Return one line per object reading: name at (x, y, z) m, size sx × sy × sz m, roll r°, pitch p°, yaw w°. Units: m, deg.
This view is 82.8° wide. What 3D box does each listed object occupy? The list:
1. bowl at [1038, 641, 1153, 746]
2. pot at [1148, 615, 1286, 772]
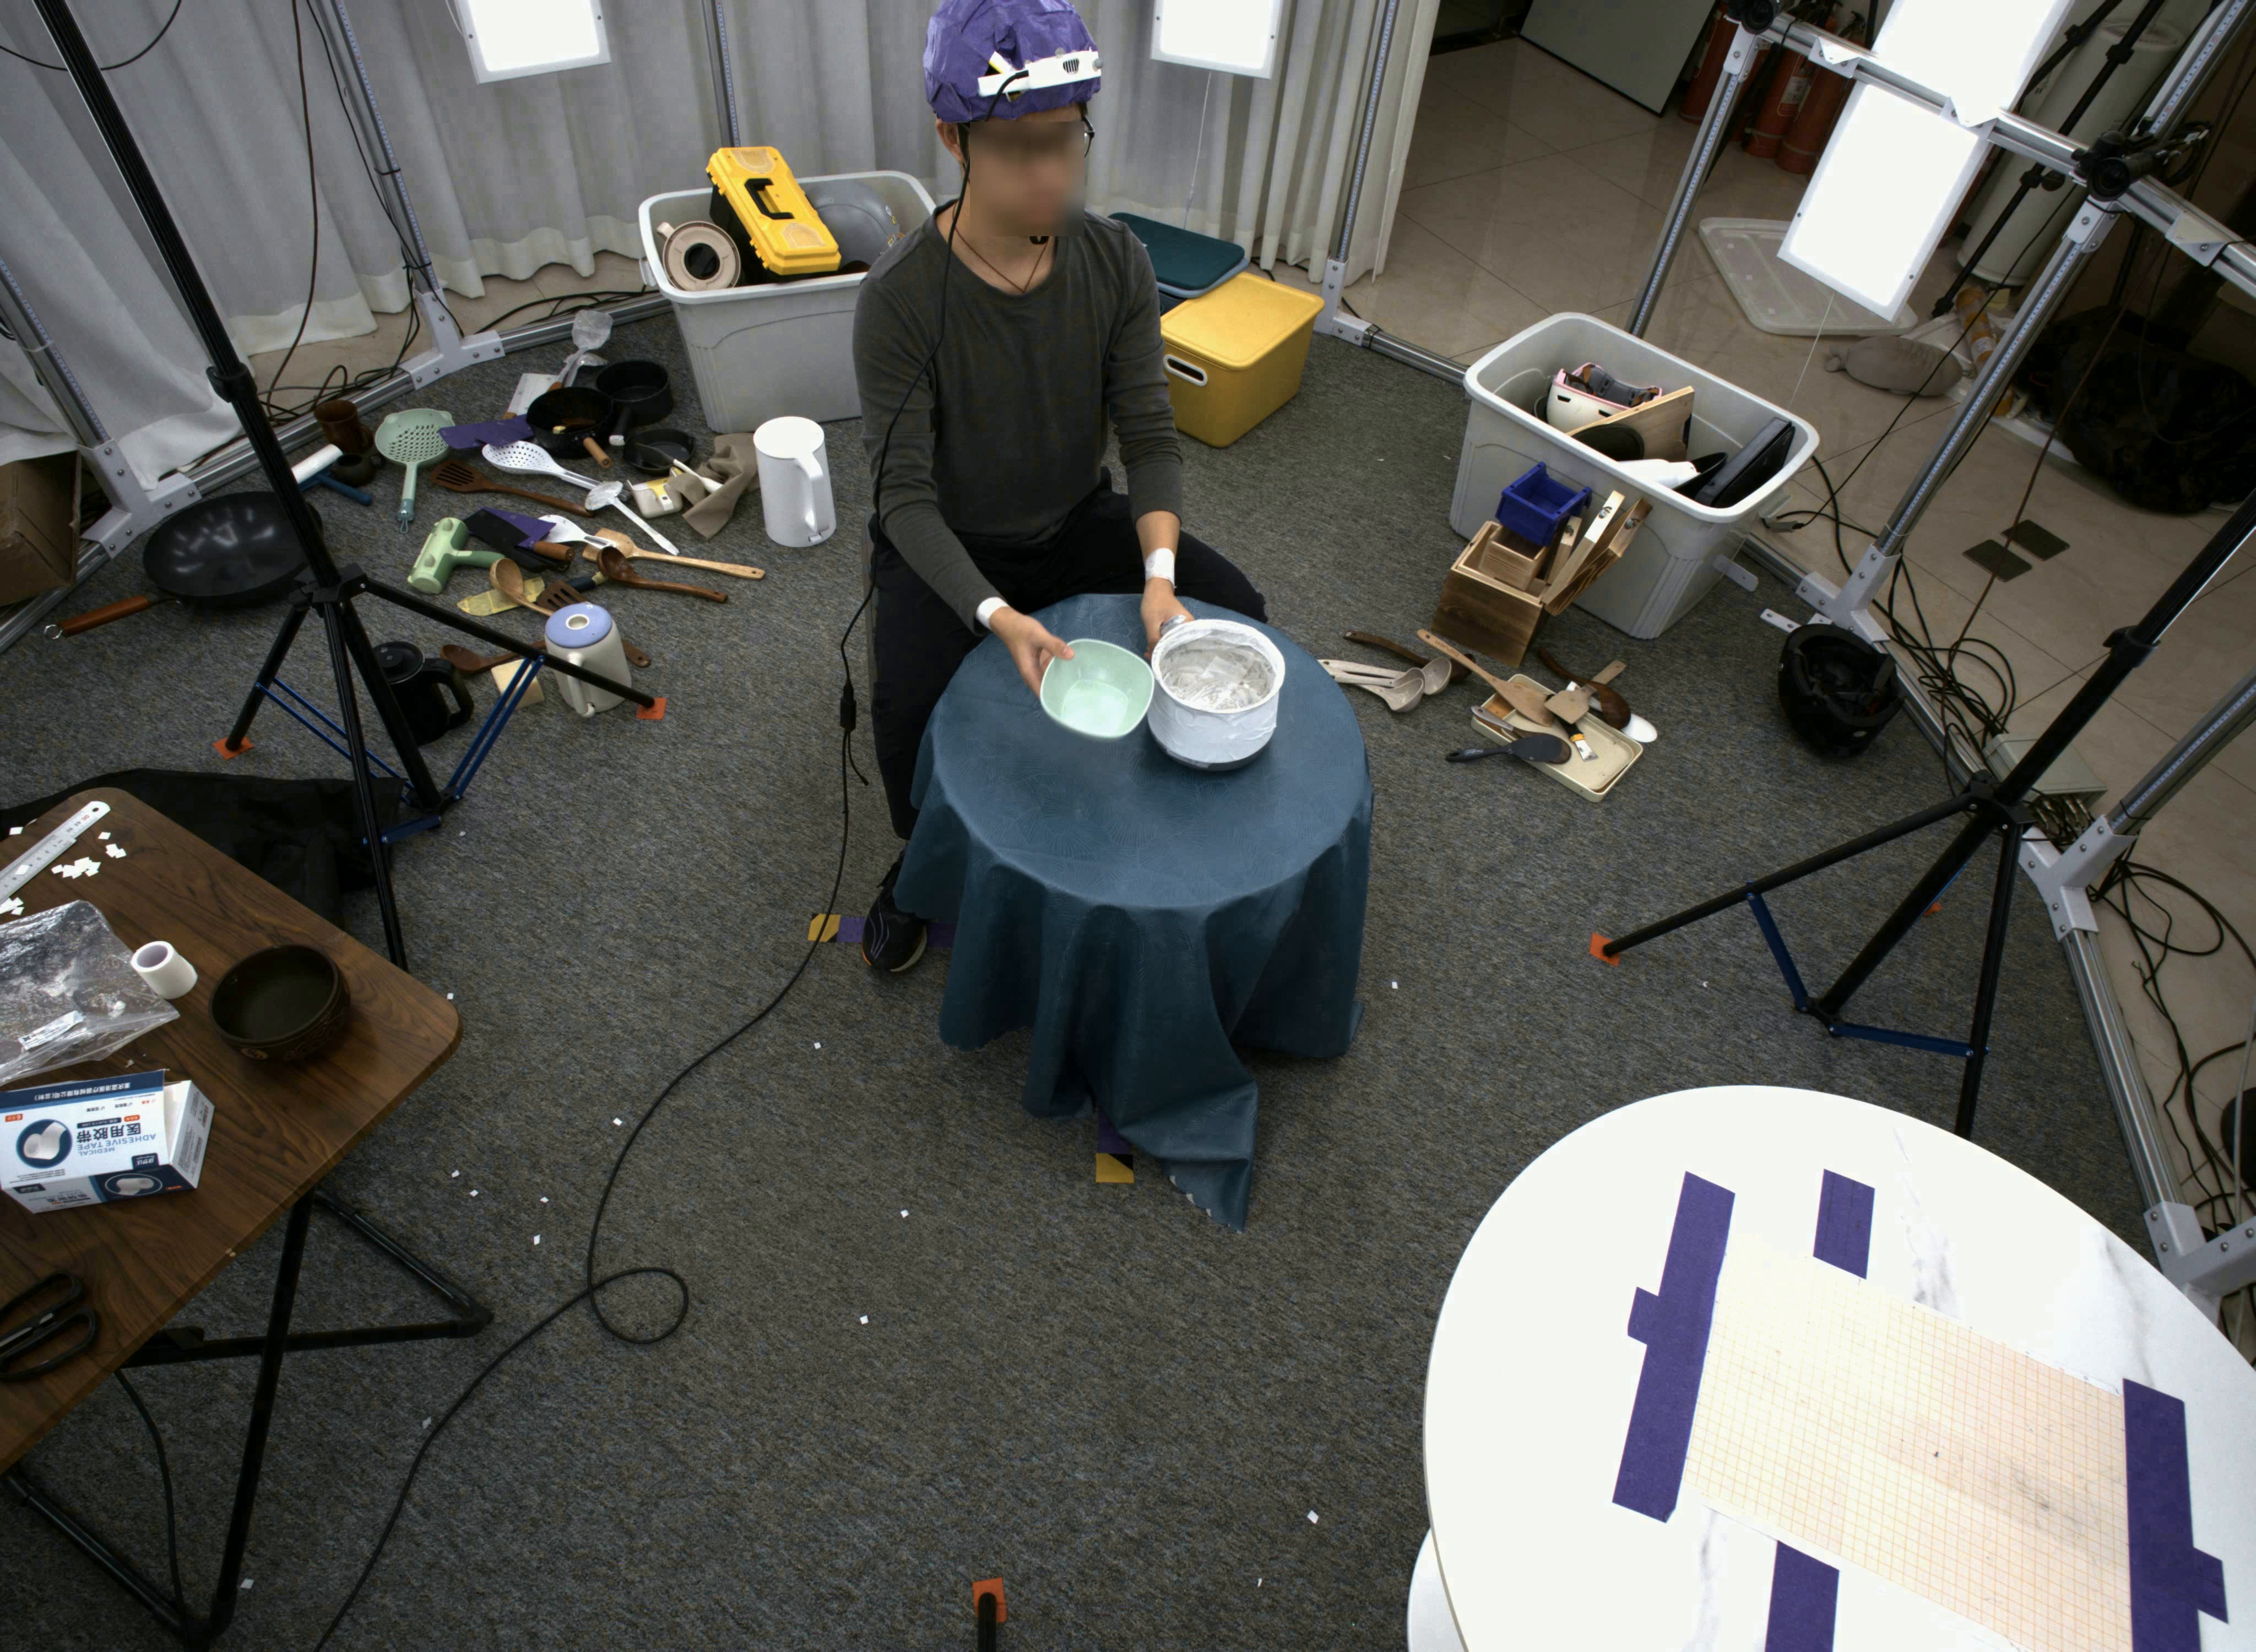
bowl at (-0.044, -0.160, 1.642) m, size 0.151 × 0.057 × 0.154 m, roll 3°, pitch 64°, yaw -6°
pot at (0.103, -0.191, 1.752) m, size 0.179 × 0.133 × 0.239 m, roll -22°, pitch 54°, yaw -20°
